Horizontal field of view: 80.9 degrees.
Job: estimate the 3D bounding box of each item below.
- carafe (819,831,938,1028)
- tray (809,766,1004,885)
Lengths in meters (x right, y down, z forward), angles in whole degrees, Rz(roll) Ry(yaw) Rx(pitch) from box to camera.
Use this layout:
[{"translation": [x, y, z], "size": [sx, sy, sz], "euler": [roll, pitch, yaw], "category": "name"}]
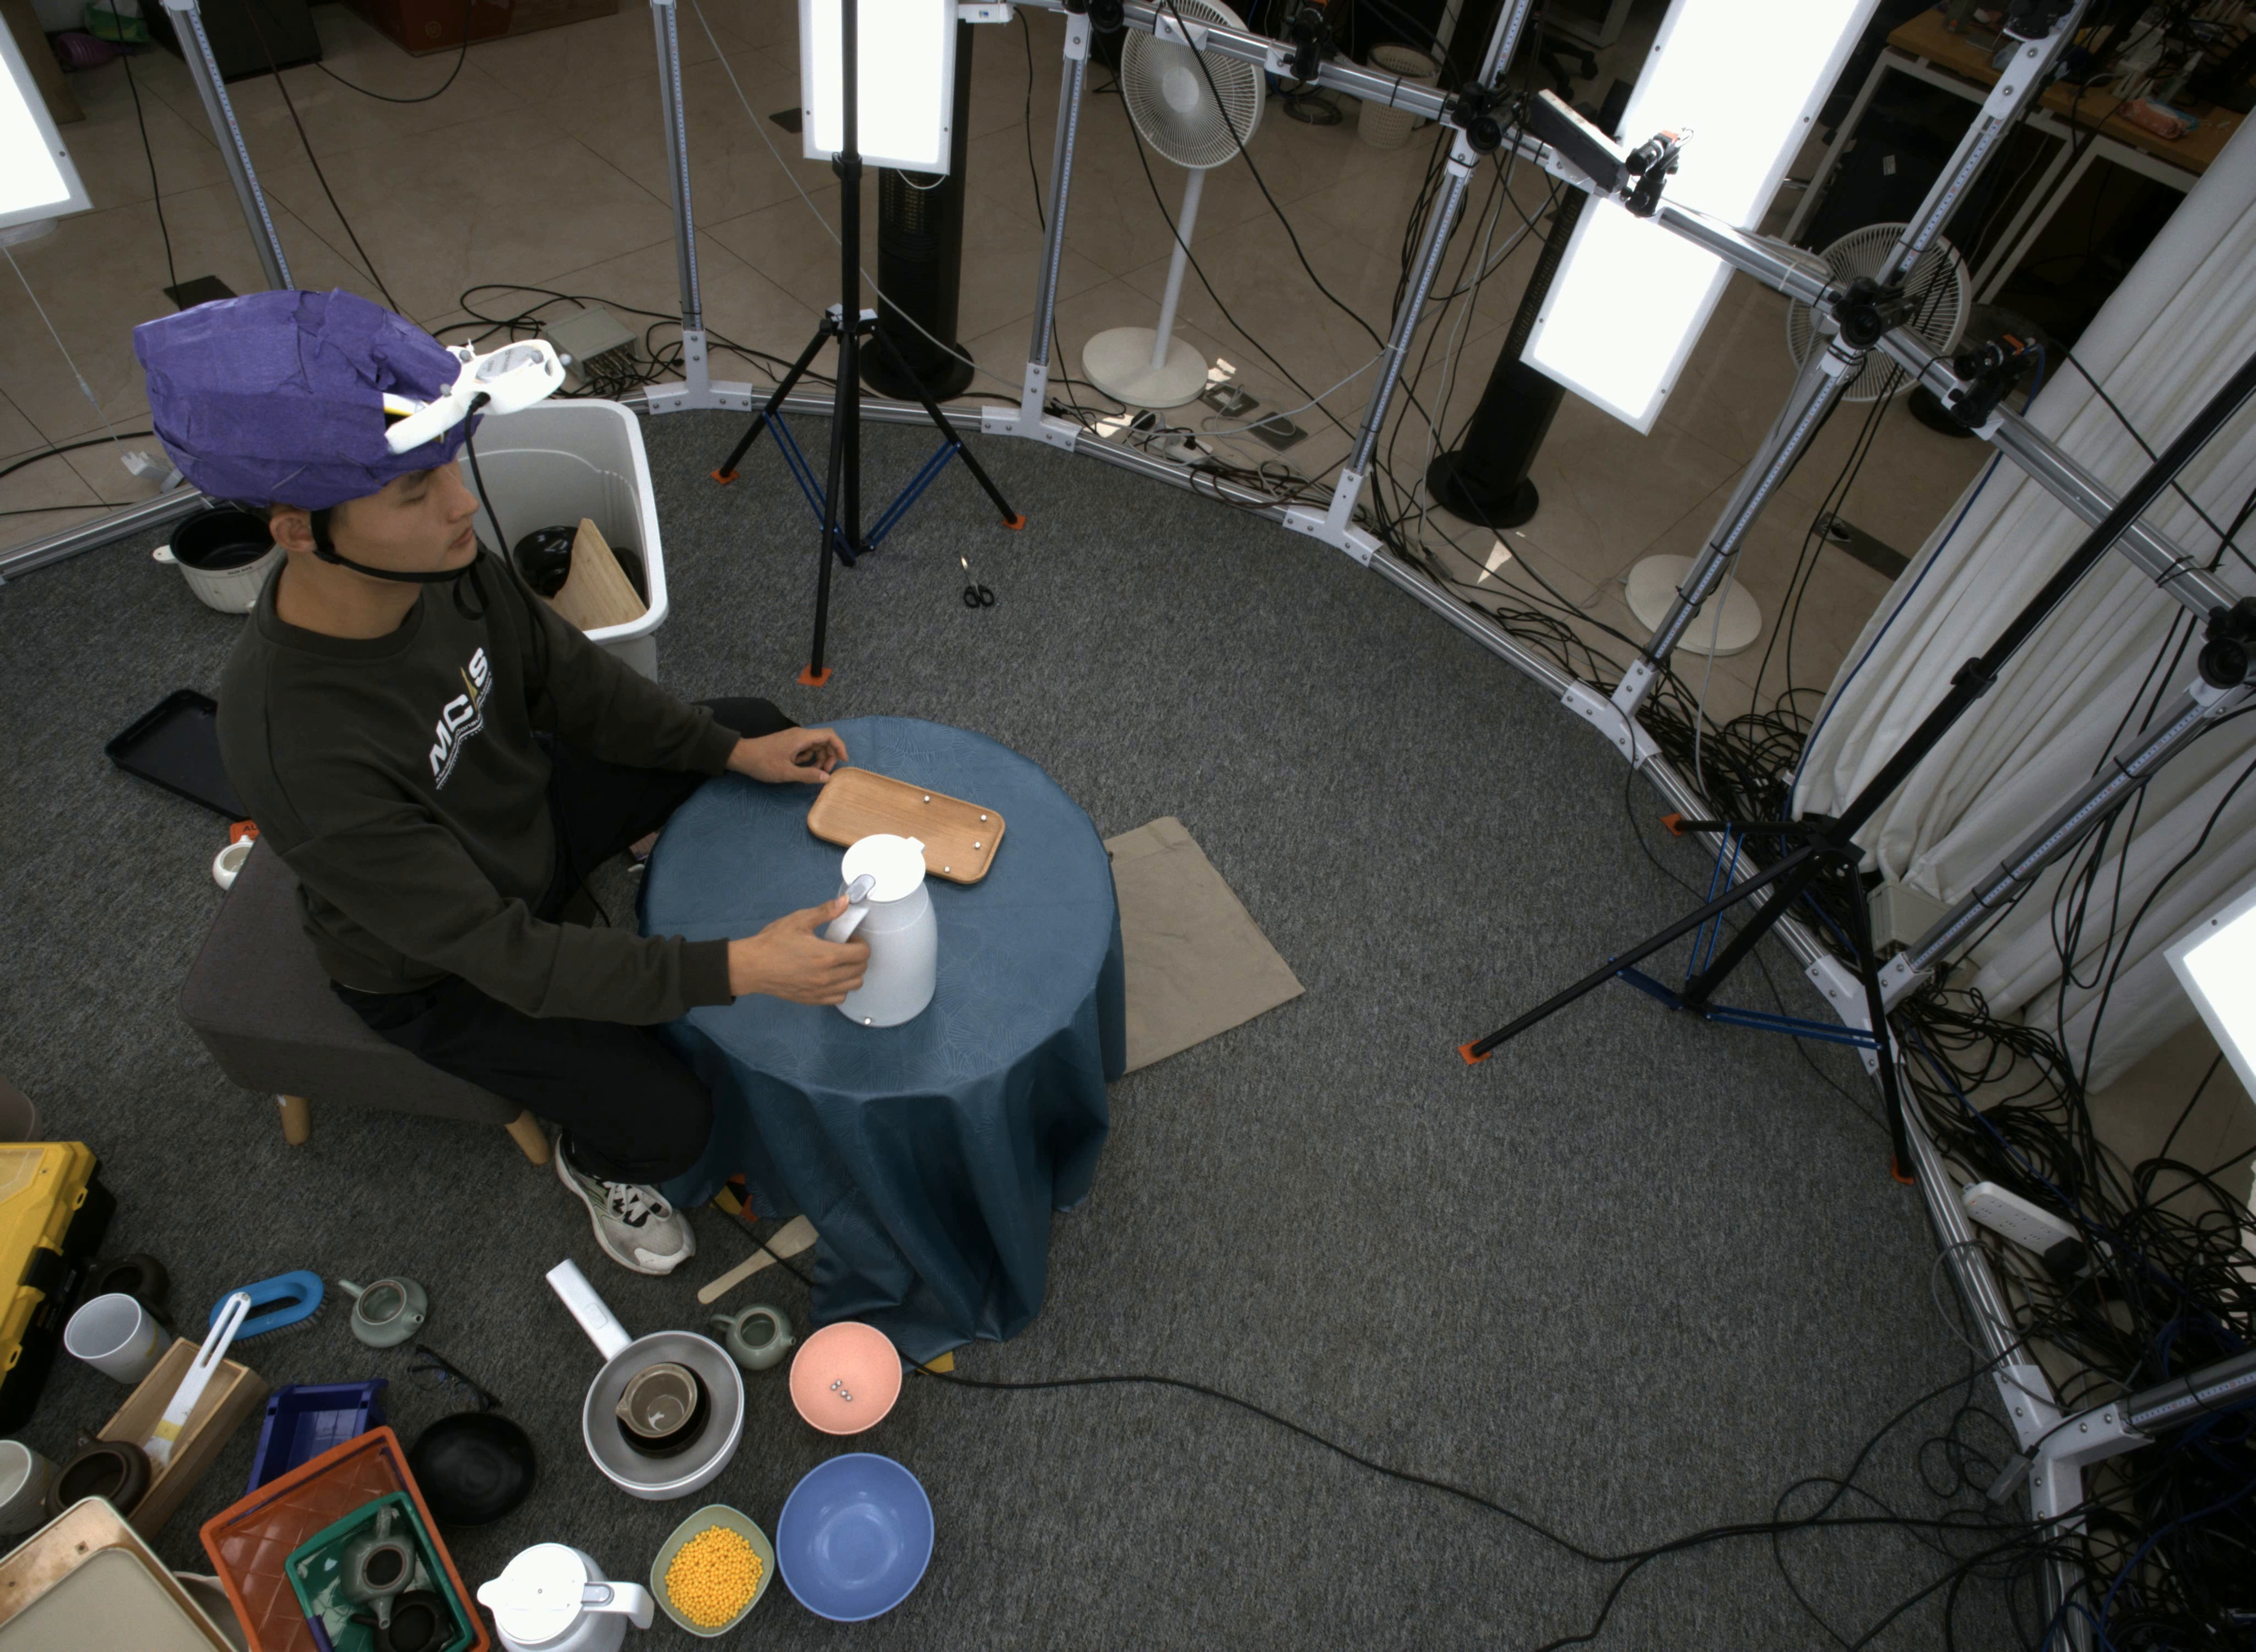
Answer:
[{"translation": [-0.295, 0.127, 1.510], "size": [0.130, 0.254, 0.167], "euler": [29, 53, 12], "category": "carafe"}, {"translation": [-0.297, -0.002, 1.757], "size": [0.248, 0.023, 0.129], "euler": [18, 49, 2], "category": "tray"}]
